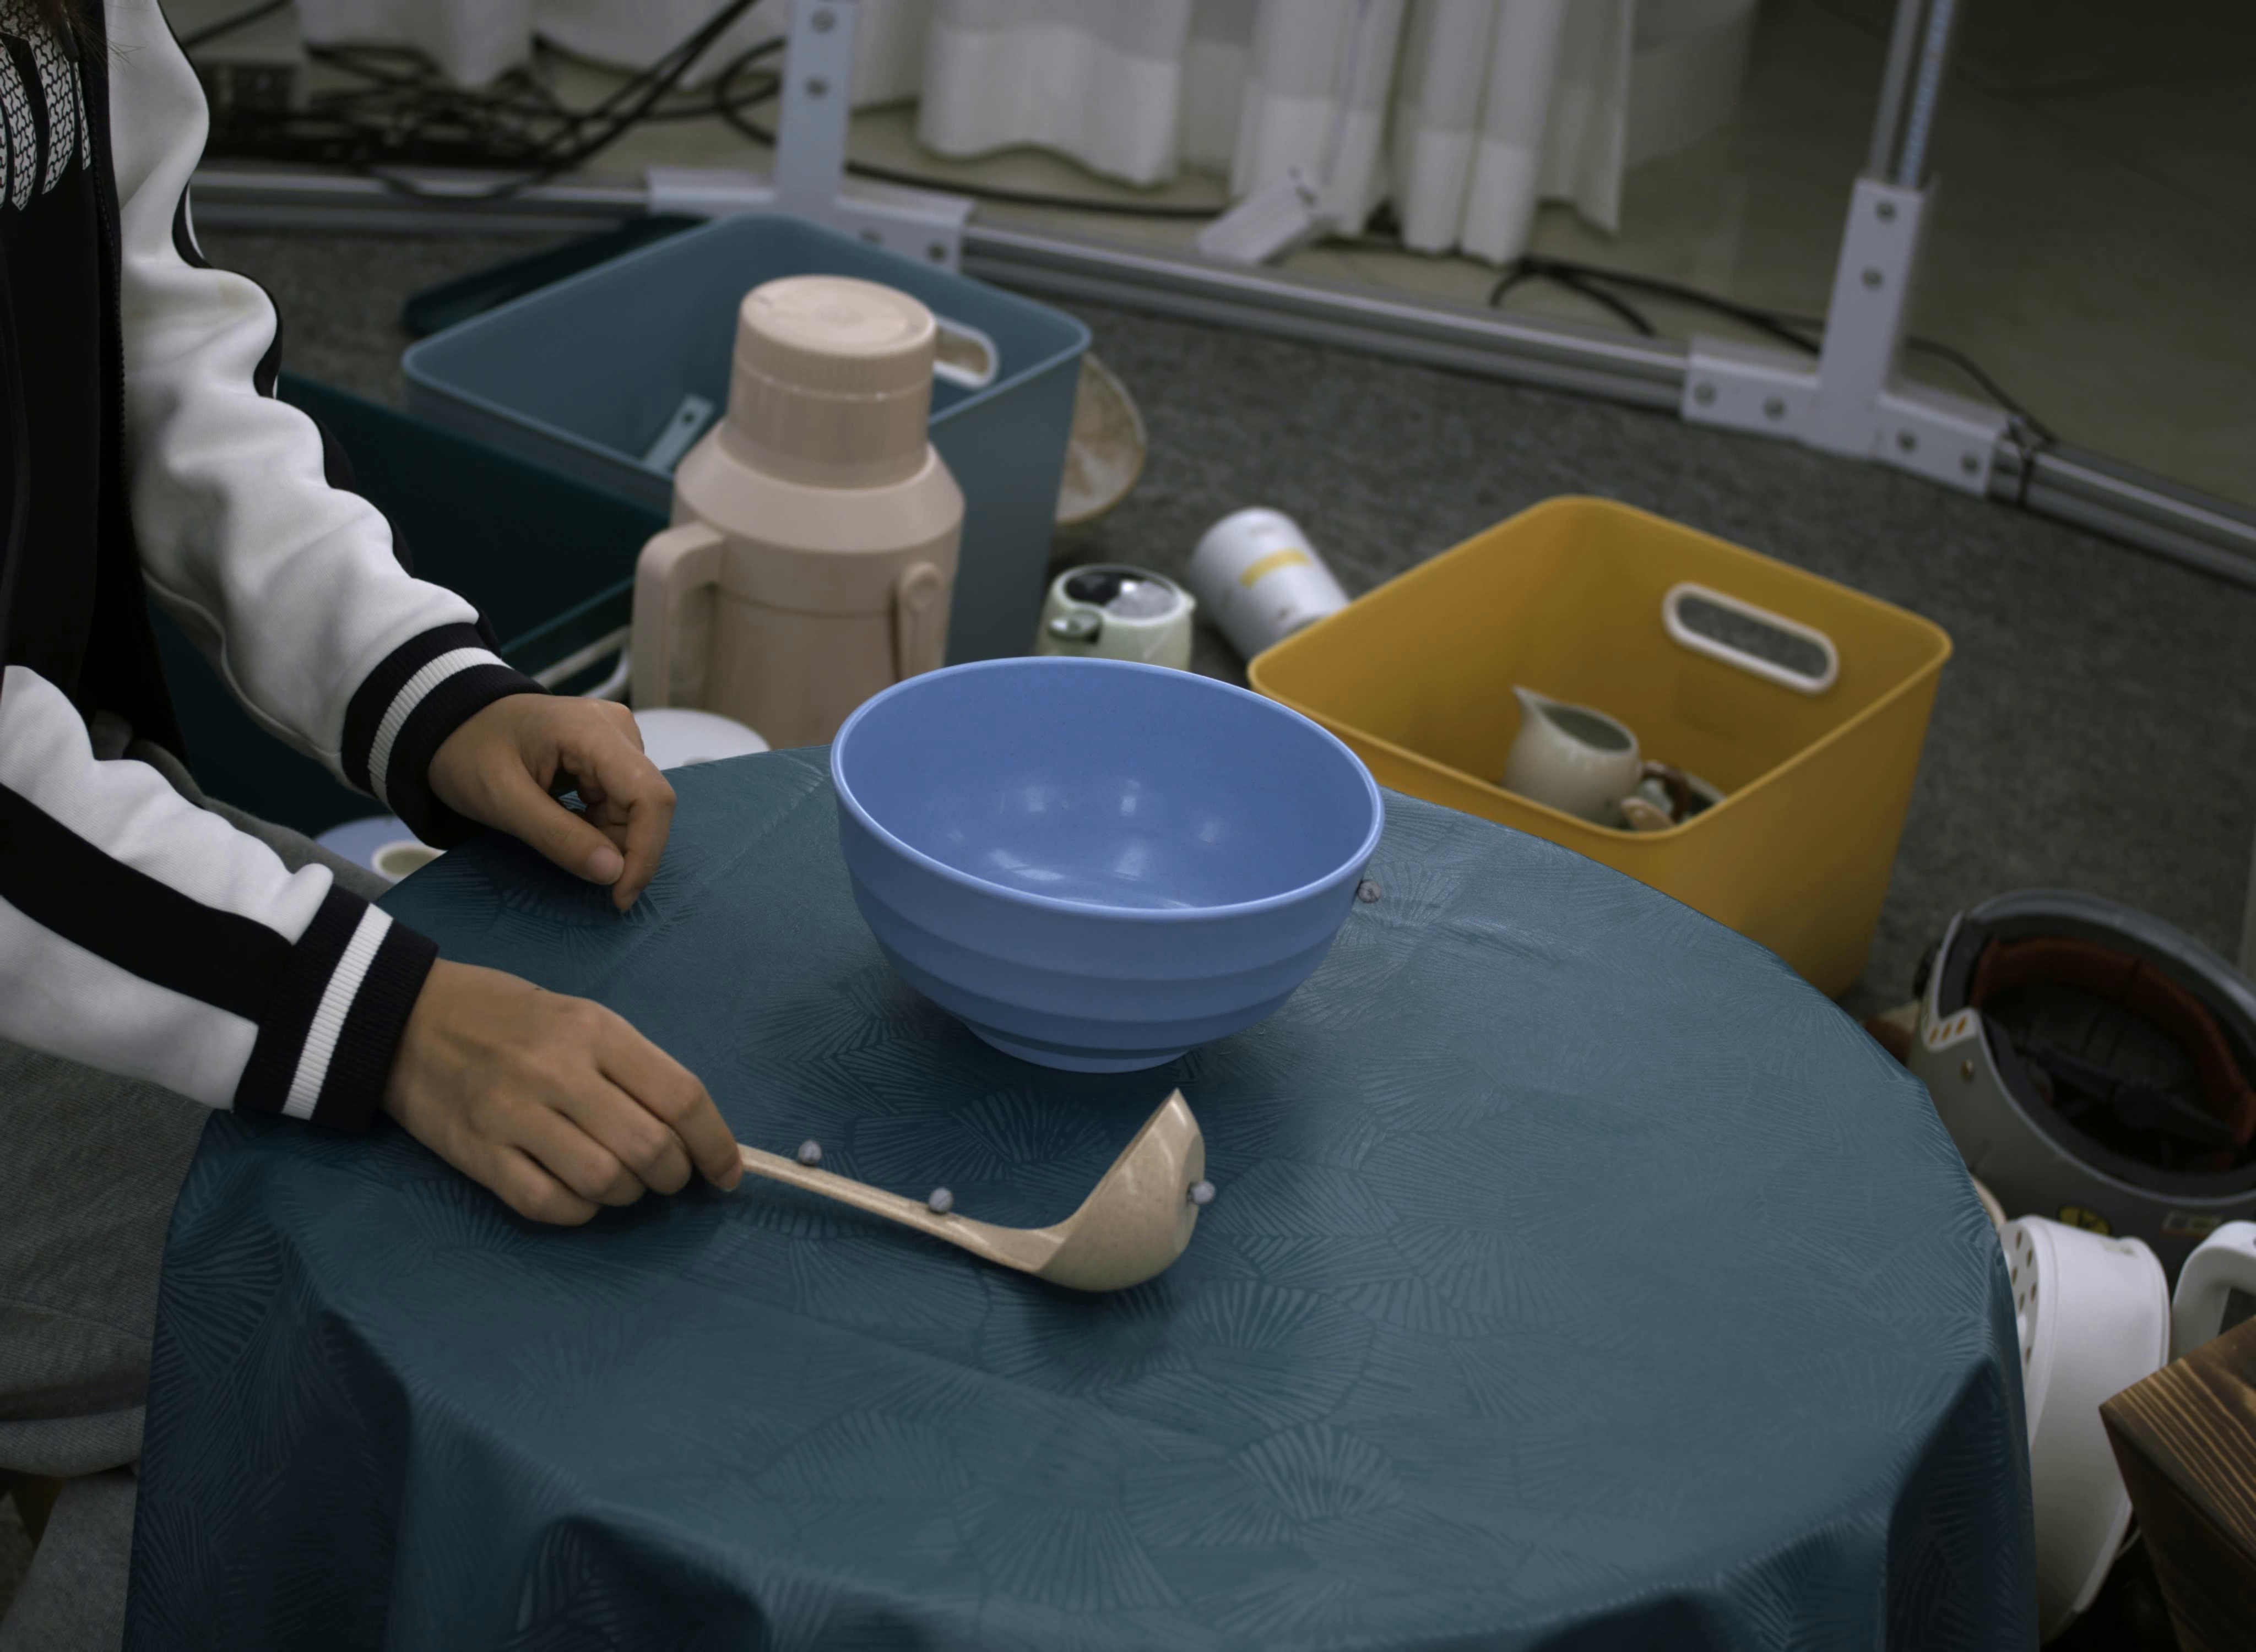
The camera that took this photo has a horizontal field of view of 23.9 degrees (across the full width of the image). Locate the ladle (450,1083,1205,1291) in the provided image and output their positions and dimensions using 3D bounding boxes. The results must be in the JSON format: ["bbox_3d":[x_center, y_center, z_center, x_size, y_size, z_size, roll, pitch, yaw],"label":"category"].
[{"bbox_3d":[-0.100,0.094,1.752,0.254,0.072,0.072,13,22,10],"label":"ladle"}]

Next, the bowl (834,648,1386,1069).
[{"bbox_3d":[-0.013,0.023,1.890,0.196,0.095,0.198,7,27,-4],"label":"bowl"}]
